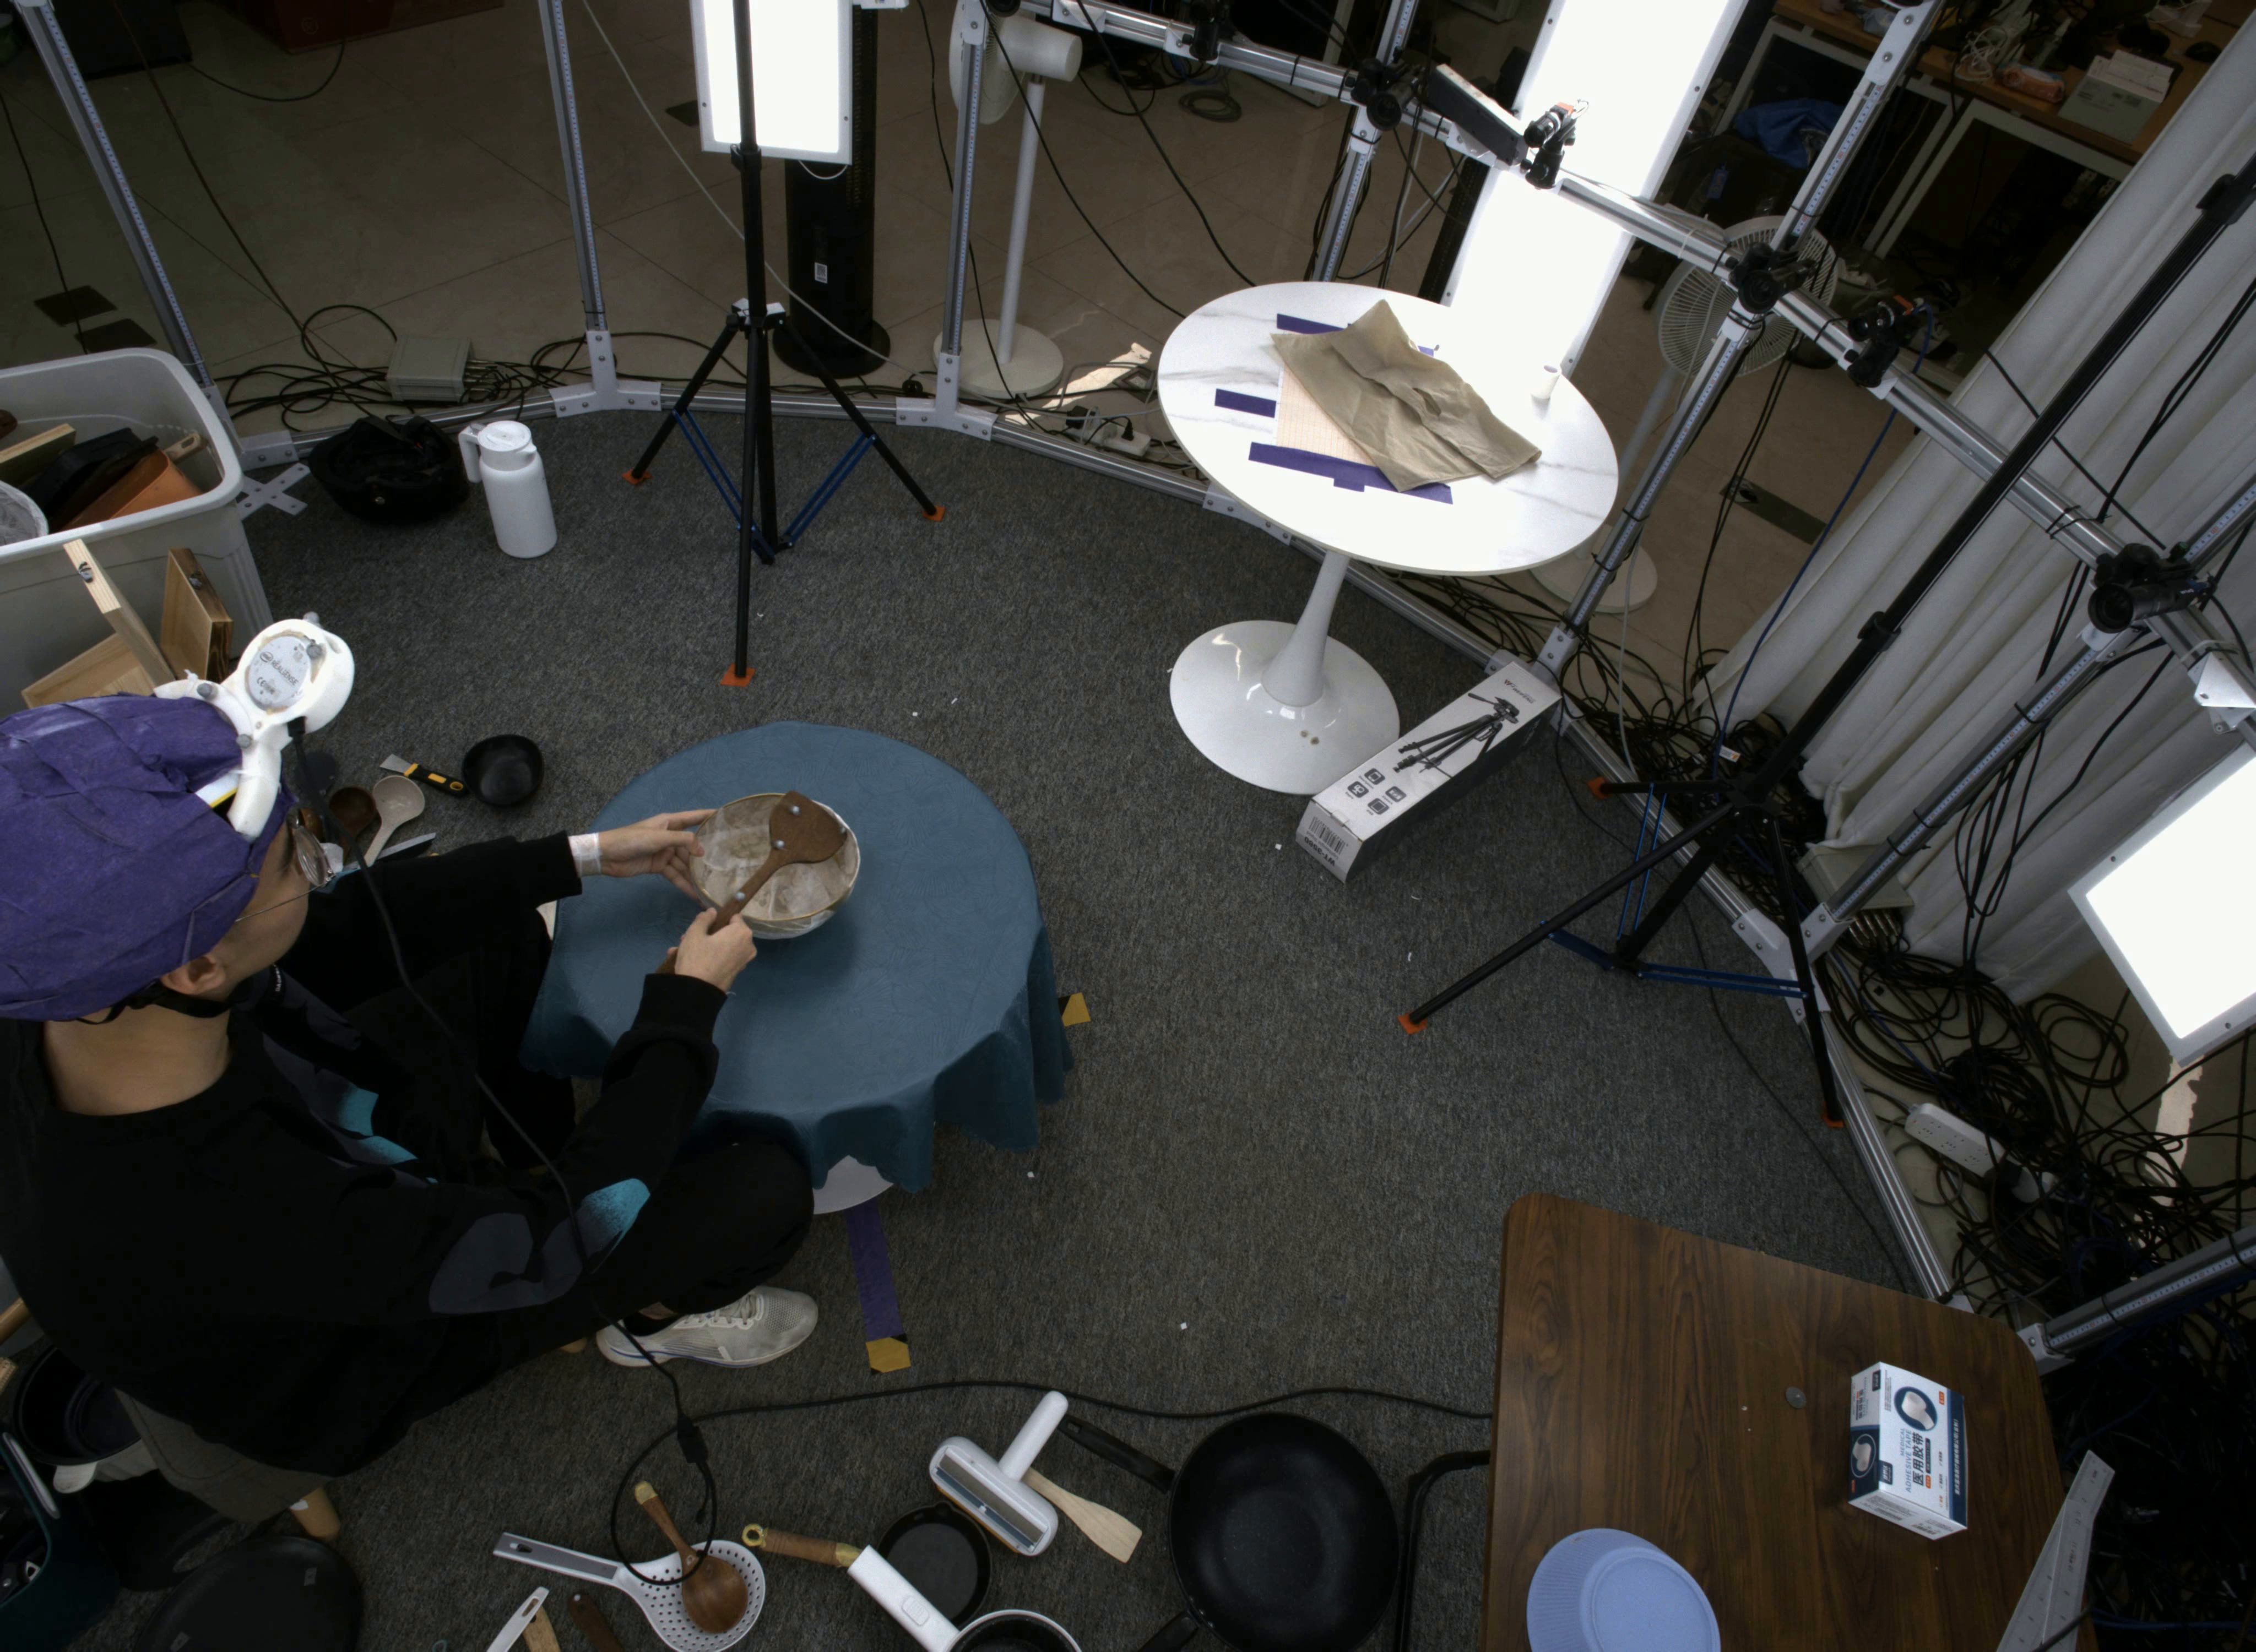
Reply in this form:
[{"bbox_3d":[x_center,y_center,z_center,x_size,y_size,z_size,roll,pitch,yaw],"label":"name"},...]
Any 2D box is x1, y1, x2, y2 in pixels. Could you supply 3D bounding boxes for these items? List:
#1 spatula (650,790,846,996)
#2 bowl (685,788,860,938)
[{"bbox_3d":[-0.434,0.072,1.468,0.097,0.016,0.382,41,32,-9],"label":"spatula"},{"bbox_3d":[-0.437,0.060,1.593,0.215,0.096,0.211,10,50,-10],"label":"bowl"}]
